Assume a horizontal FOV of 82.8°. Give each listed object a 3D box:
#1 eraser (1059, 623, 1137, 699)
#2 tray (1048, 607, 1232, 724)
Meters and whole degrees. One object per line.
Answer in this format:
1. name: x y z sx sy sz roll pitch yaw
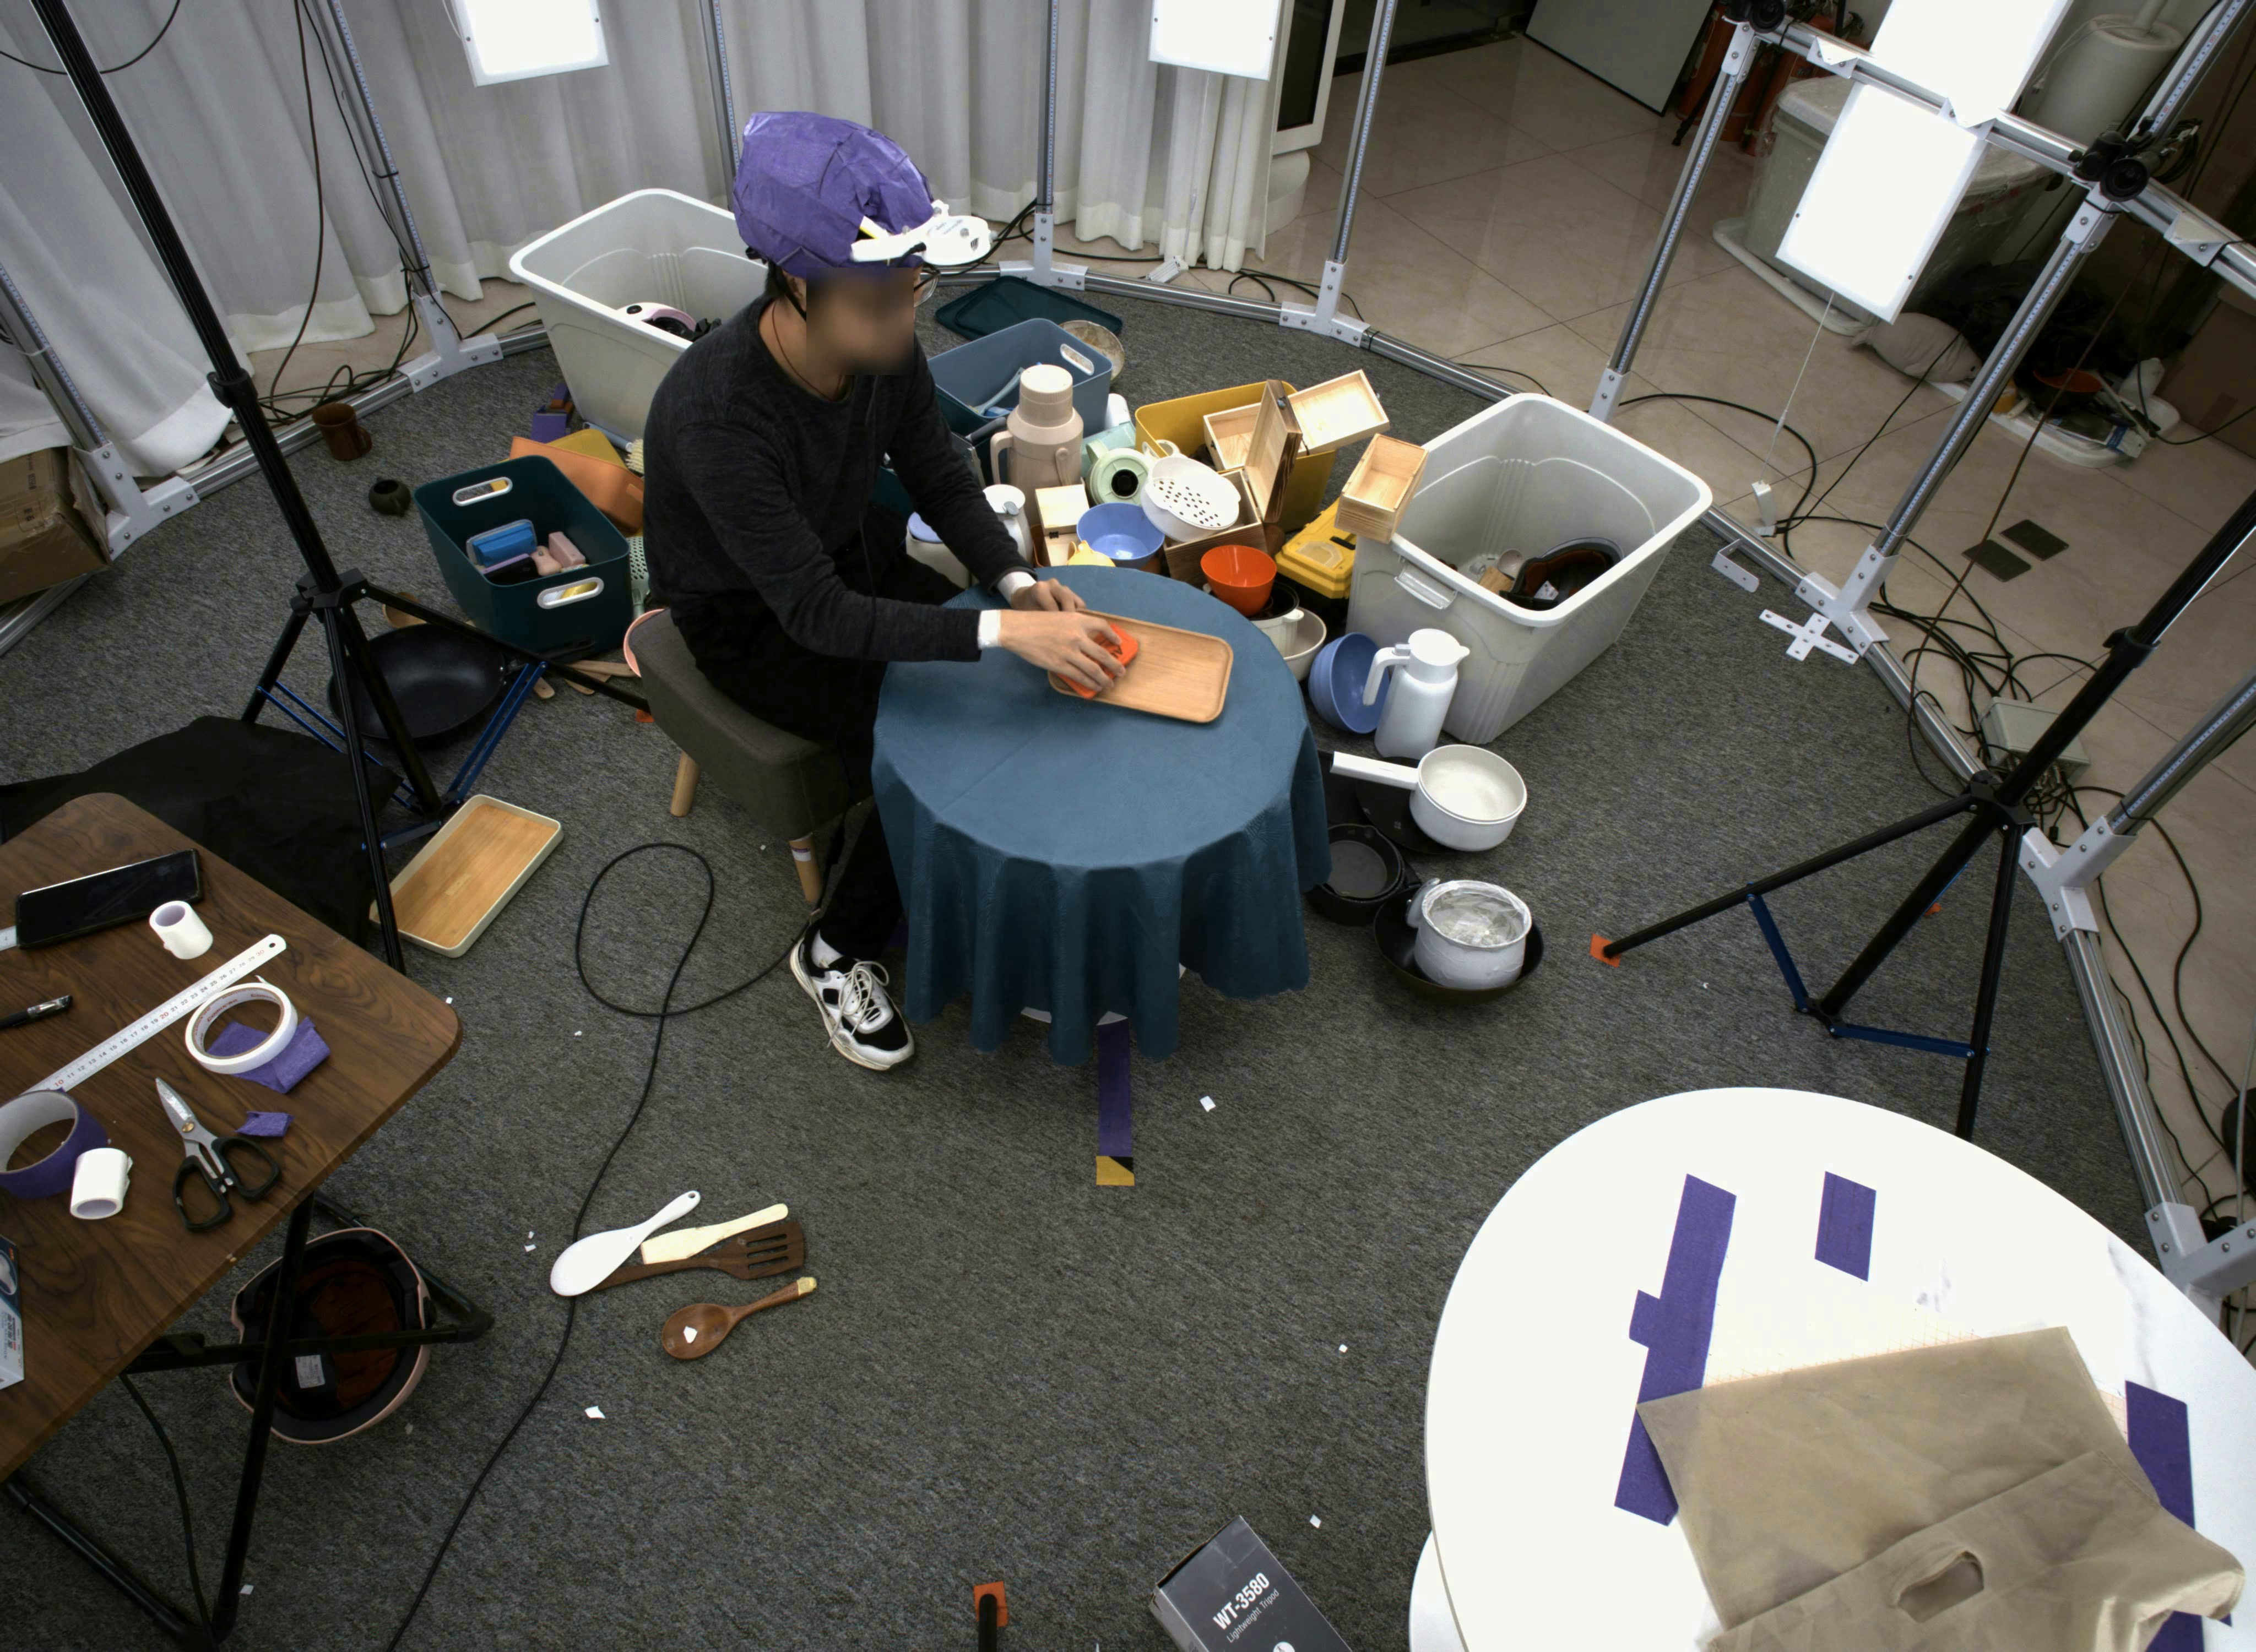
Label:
1. eraser: -0.042 -0.232 1.801 0.059 0.022 0.108 44 77 12
2. tray: 0.017 -0.227 1.814 0.251 0.022 0.132 13 76 3
